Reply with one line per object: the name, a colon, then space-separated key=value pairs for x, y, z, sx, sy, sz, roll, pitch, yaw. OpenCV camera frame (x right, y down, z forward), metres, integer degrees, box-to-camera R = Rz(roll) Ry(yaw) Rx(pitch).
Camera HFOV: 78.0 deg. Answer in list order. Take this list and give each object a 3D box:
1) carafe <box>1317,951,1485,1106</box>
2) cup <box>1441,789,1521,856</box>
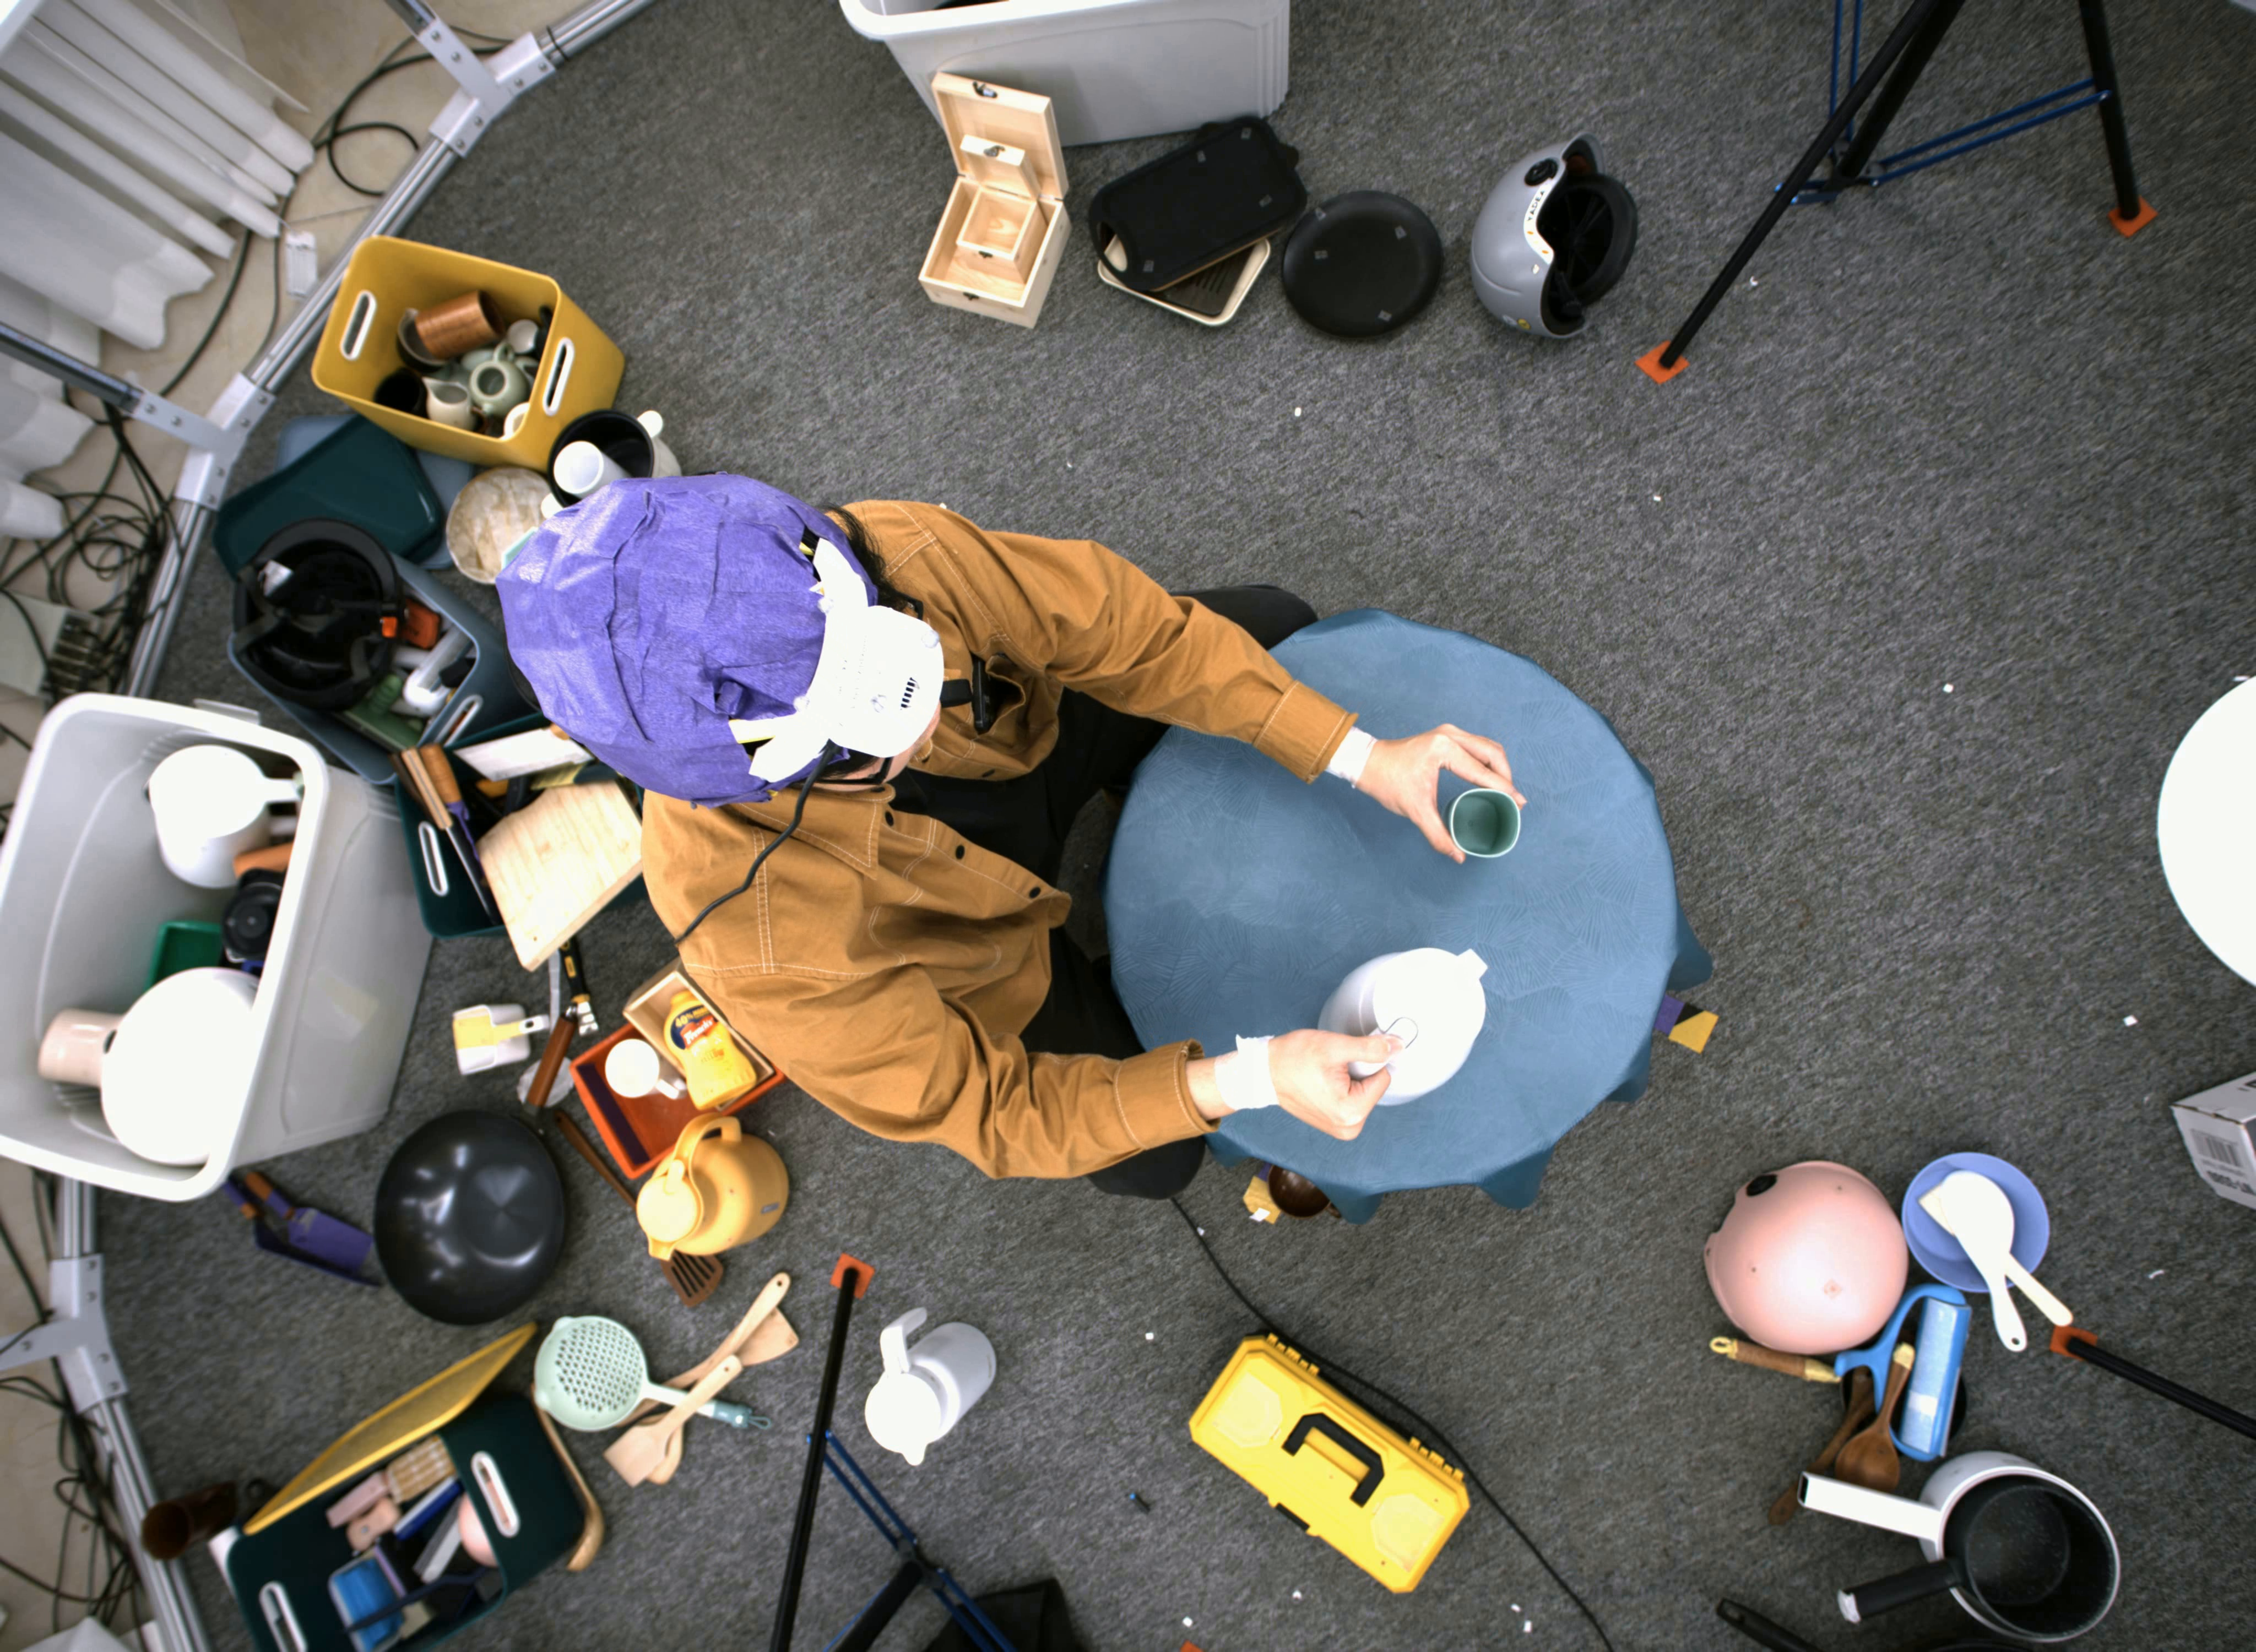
carafe: x=0.237 y=0.190 z=1.247 sx=0.167 sy=0.251 sz=0.132 roll=-41 pitch=79 yaw=-7
cup: x=0.339 y=-0.005 z=1.333 sx=0.067 sy=0.132 sz=0.067 roll=0 pitch=90 yaw=8
